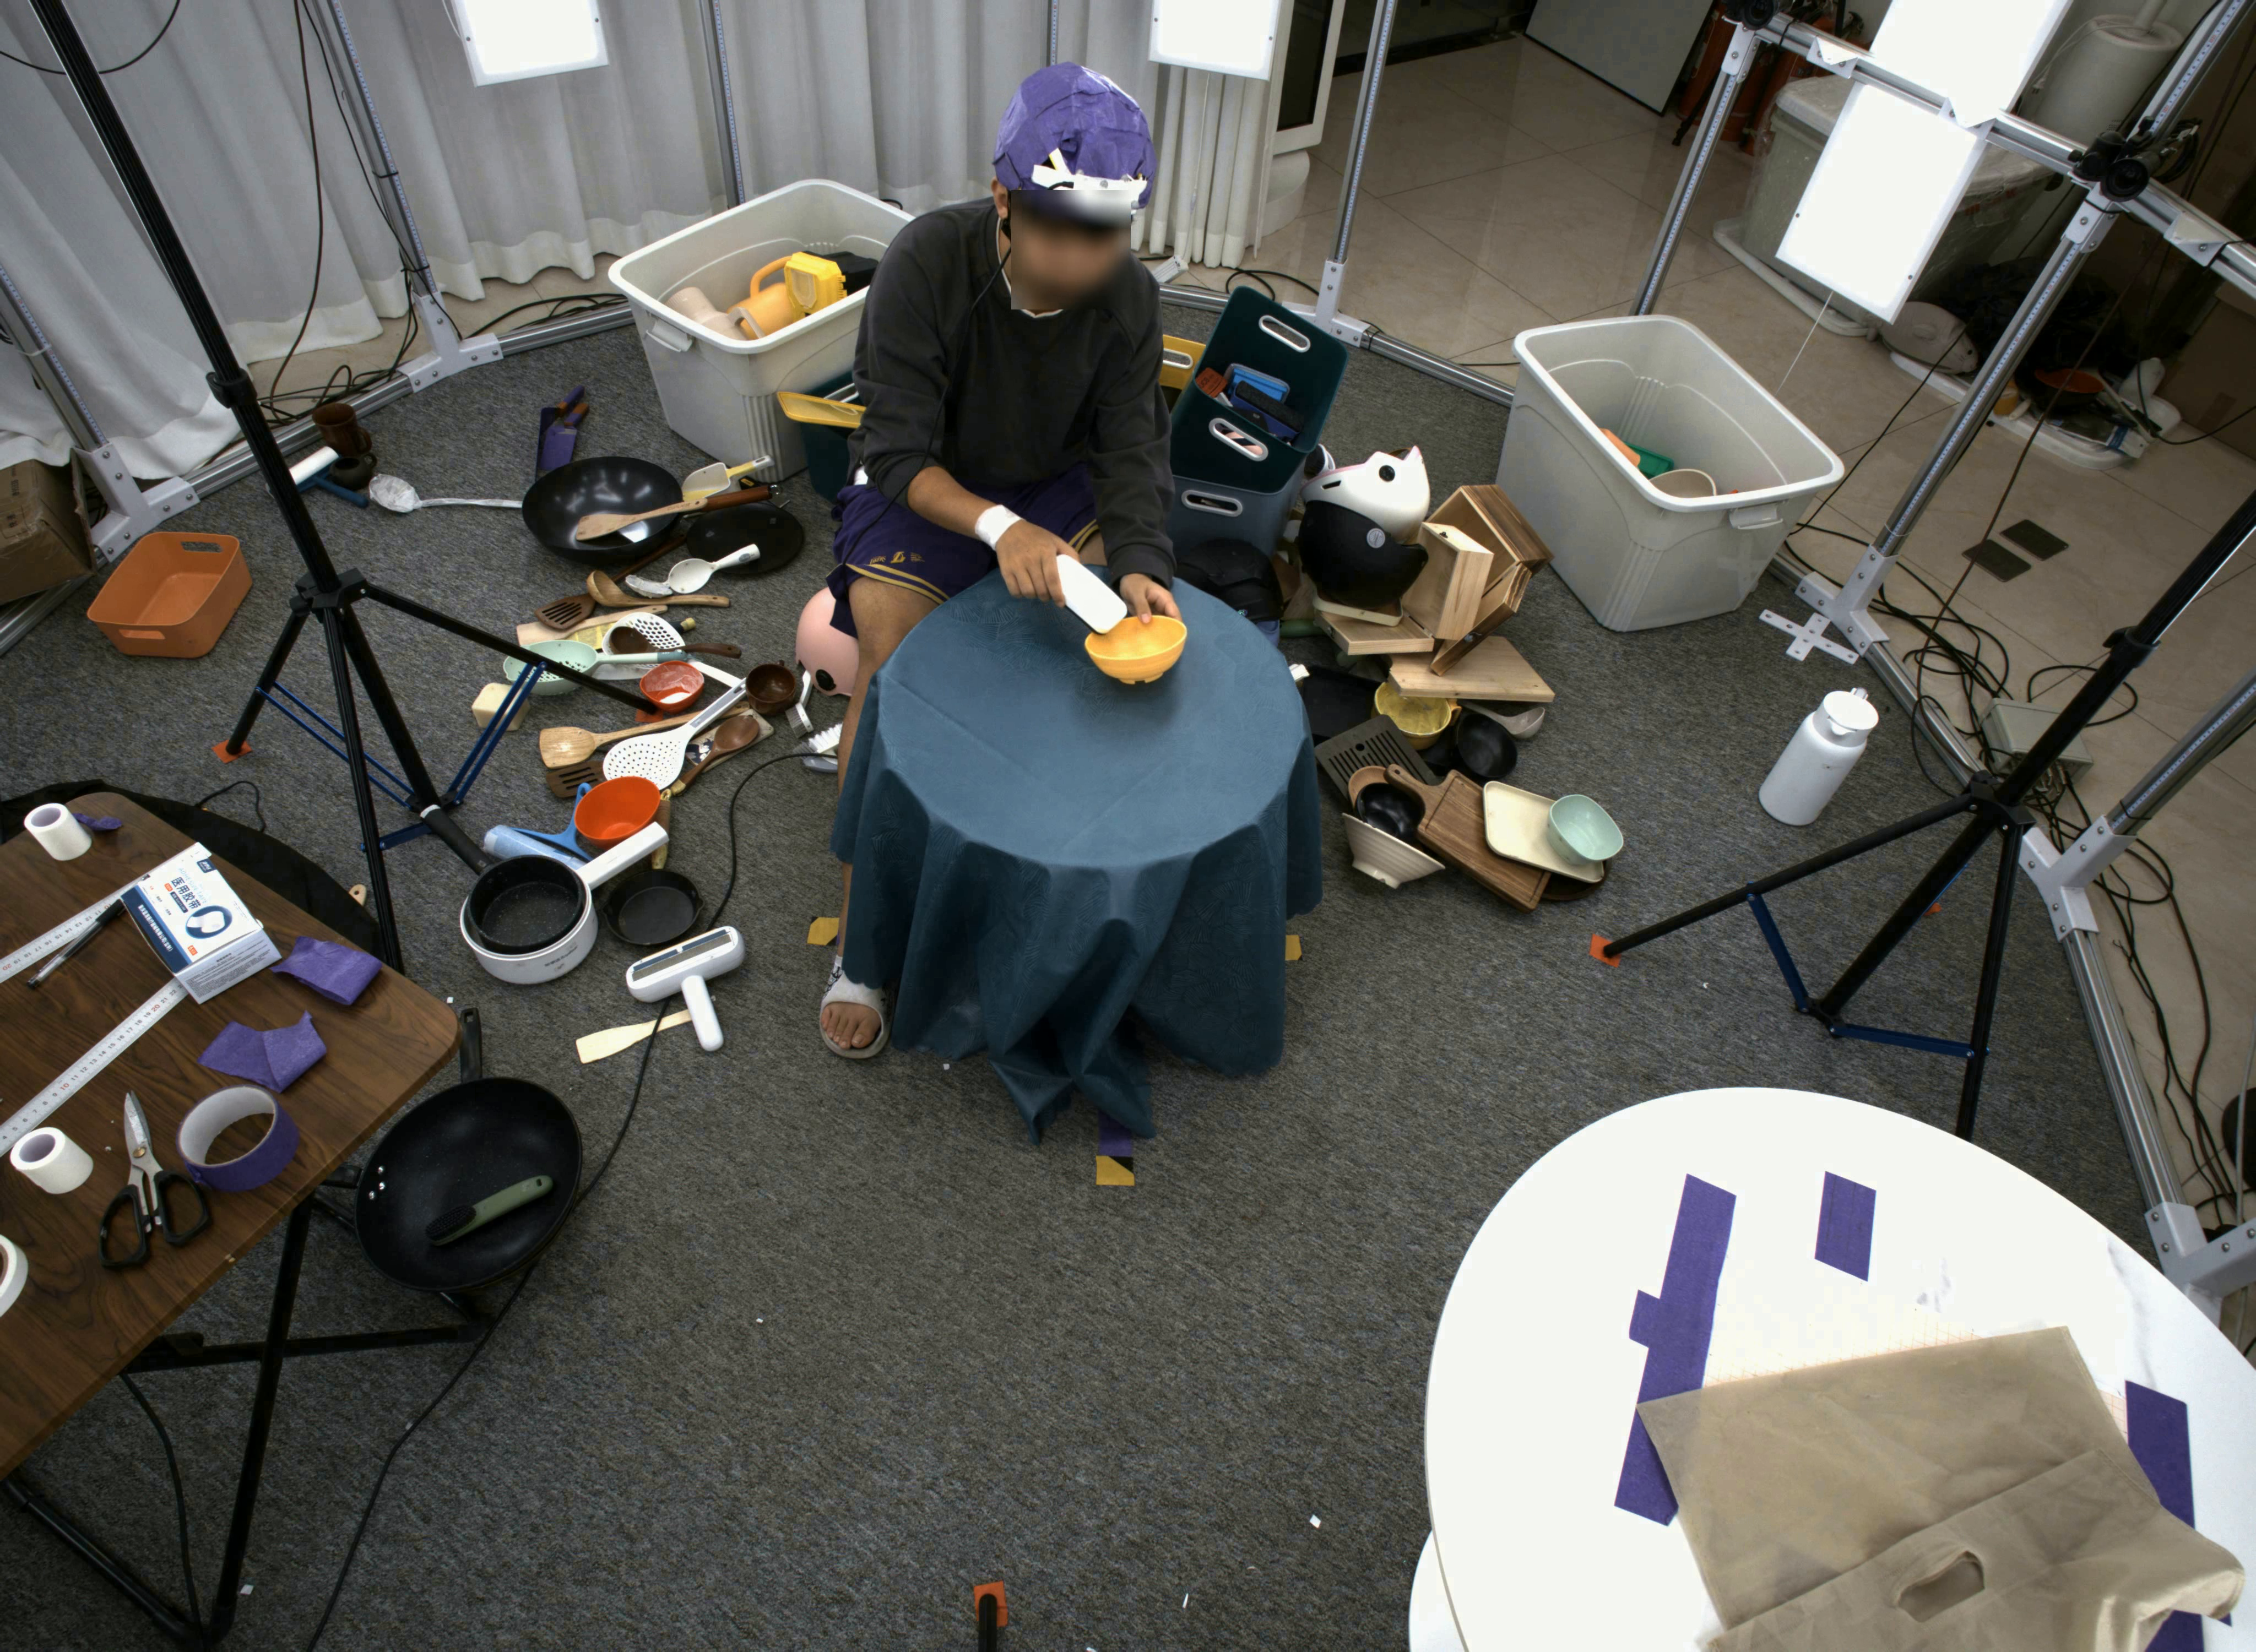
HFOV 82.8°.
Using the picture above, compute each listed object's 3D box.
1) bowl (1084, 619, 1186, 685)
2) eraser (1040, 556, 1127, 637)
[{"bbox_3d":[0.013,-0.240,1.818,0.145,0.059,0.148,-7,28,4],"label":"bowl"},{"bbox_3d":[-0.064,-0.331,1.846,0.132,0.034,0.064,43,58,6],"label":"eraser"}]
